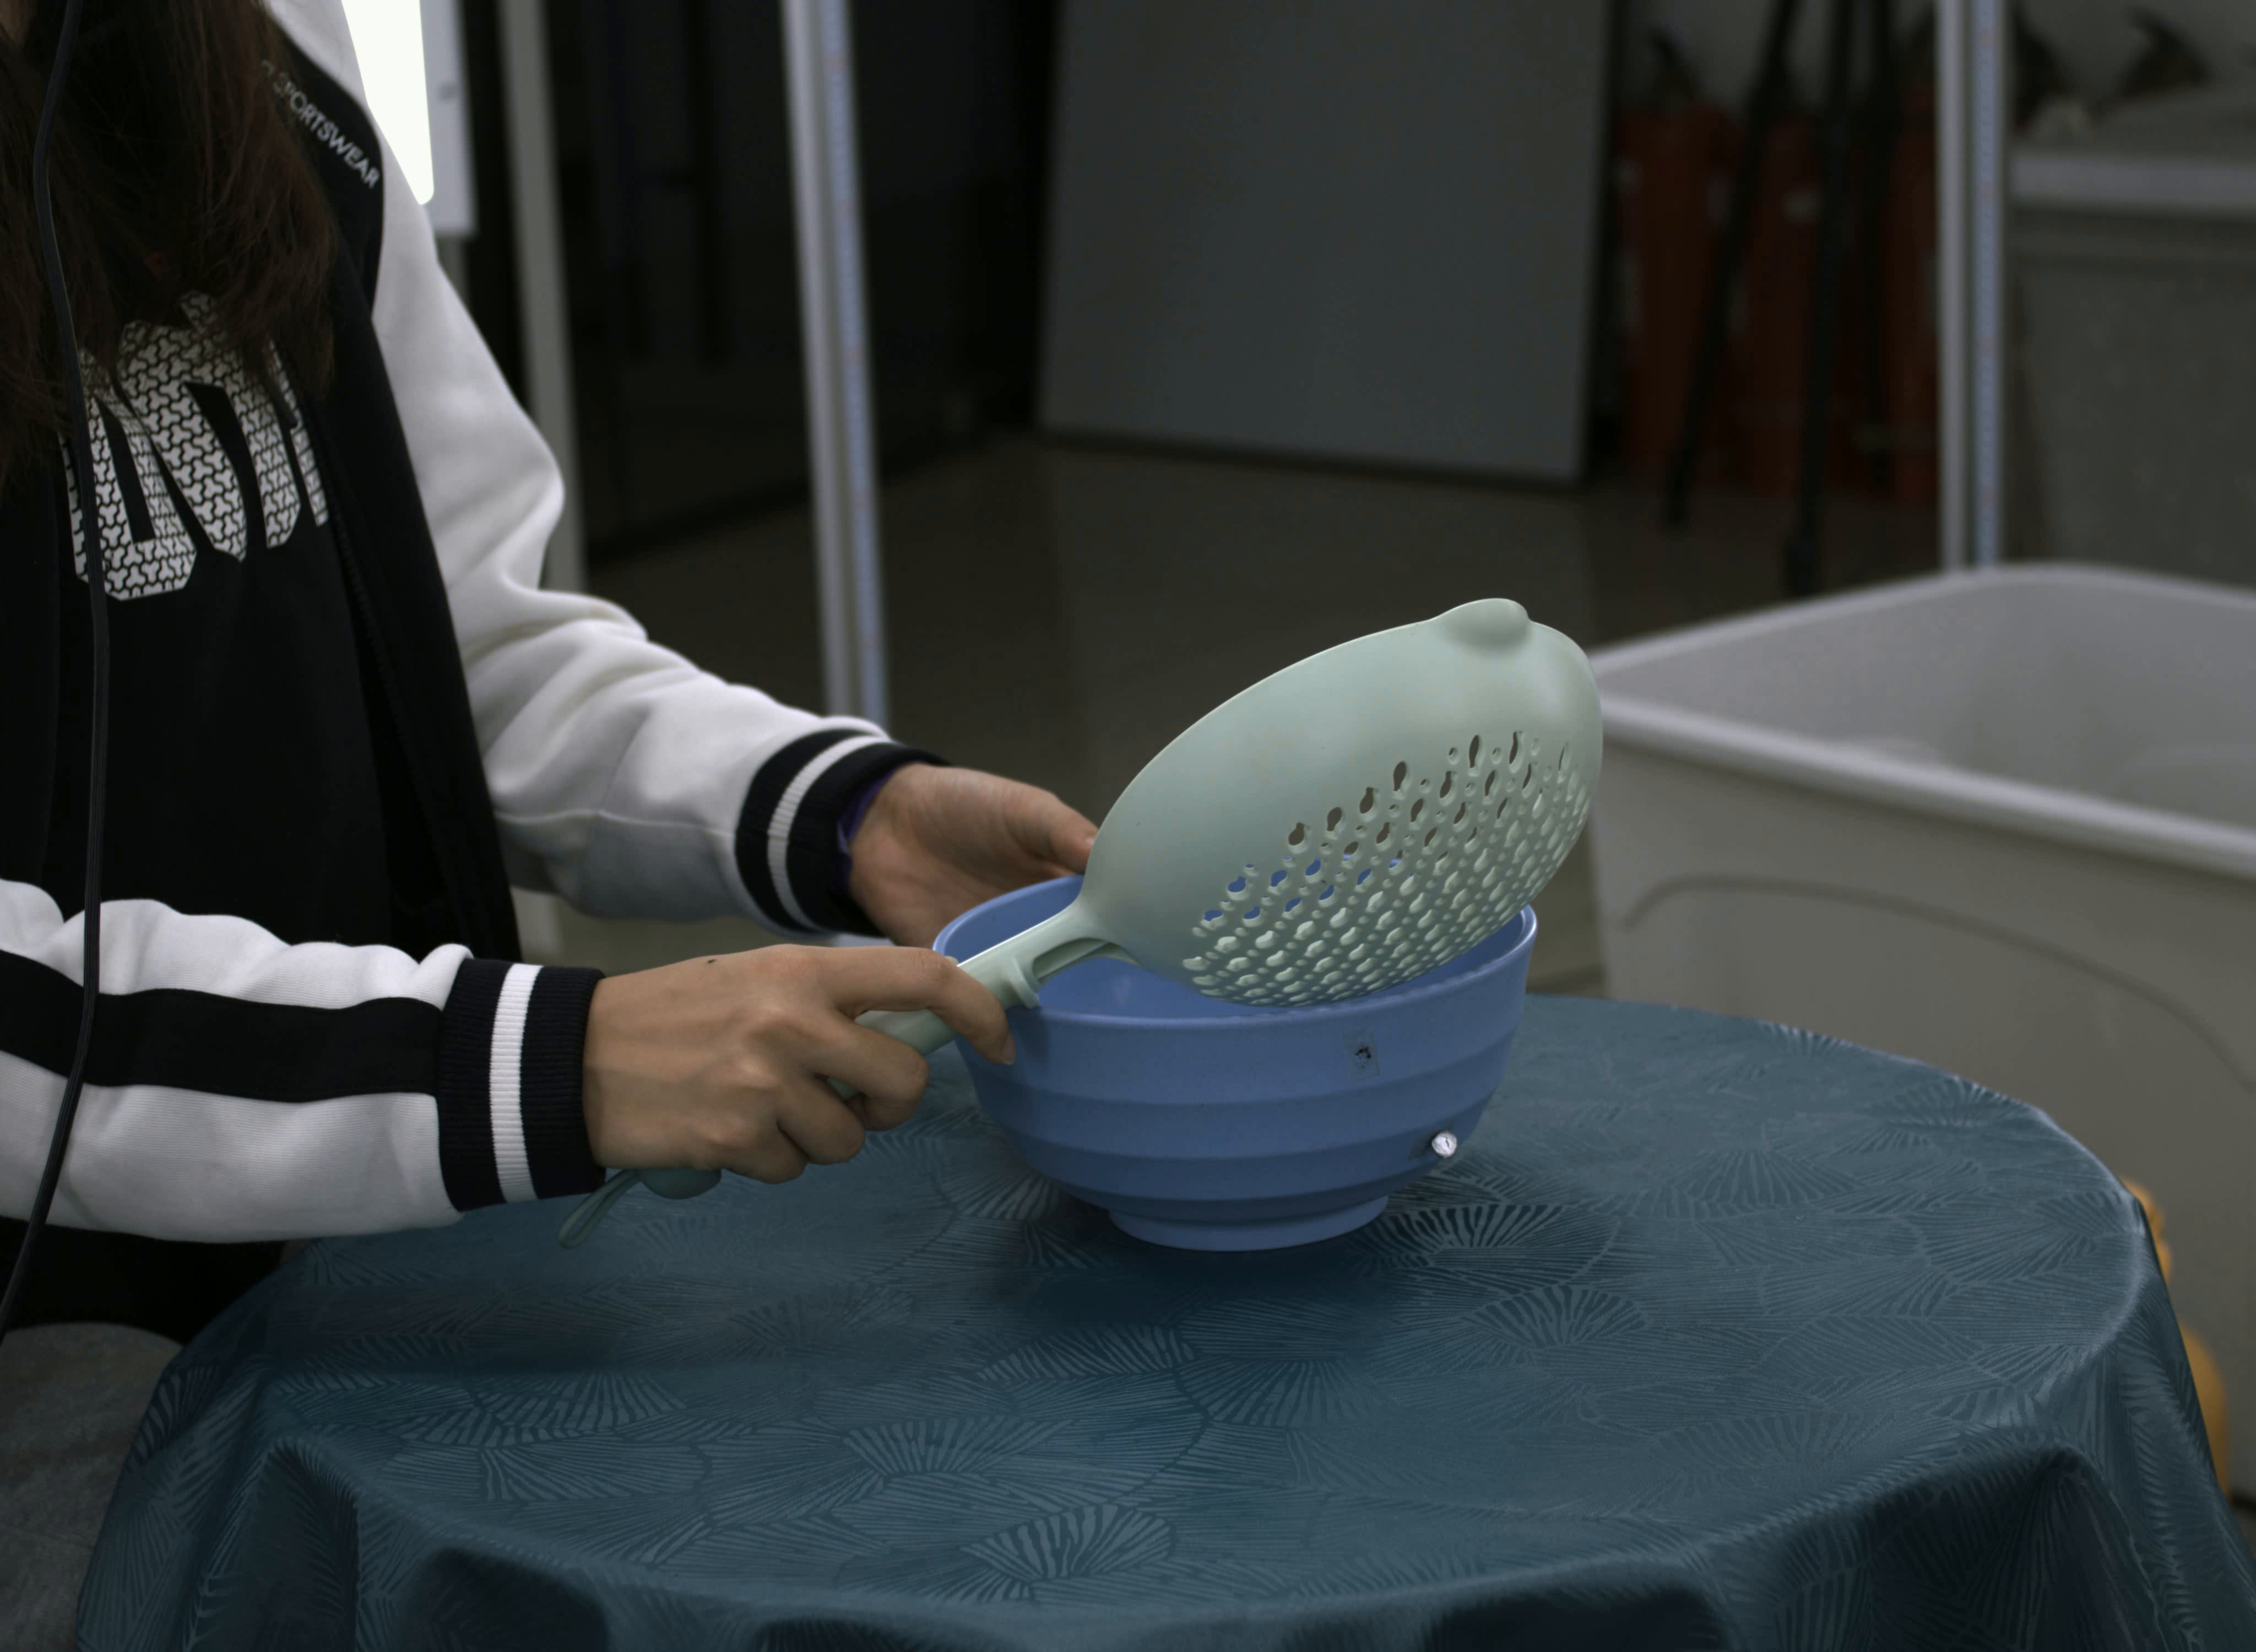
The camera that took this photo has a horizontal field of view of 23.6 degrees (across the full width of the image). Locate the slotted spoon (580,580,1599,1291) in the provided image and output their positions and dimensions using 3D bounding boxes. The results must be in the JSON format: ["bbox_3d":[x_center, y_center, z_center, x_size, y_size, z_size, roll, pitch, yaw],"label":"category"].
[{"bbox_3d":[-0.014,0.043,1.648,0.357,0.076,0.168,-22,-29,7],"label":"slotted spoon"}]

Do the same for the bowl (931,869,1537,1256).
[{"bbox_3d":[0.037,0.078,1.734,0.194,0.096,0.197,-4,14,0],"label":"bowl"}]
